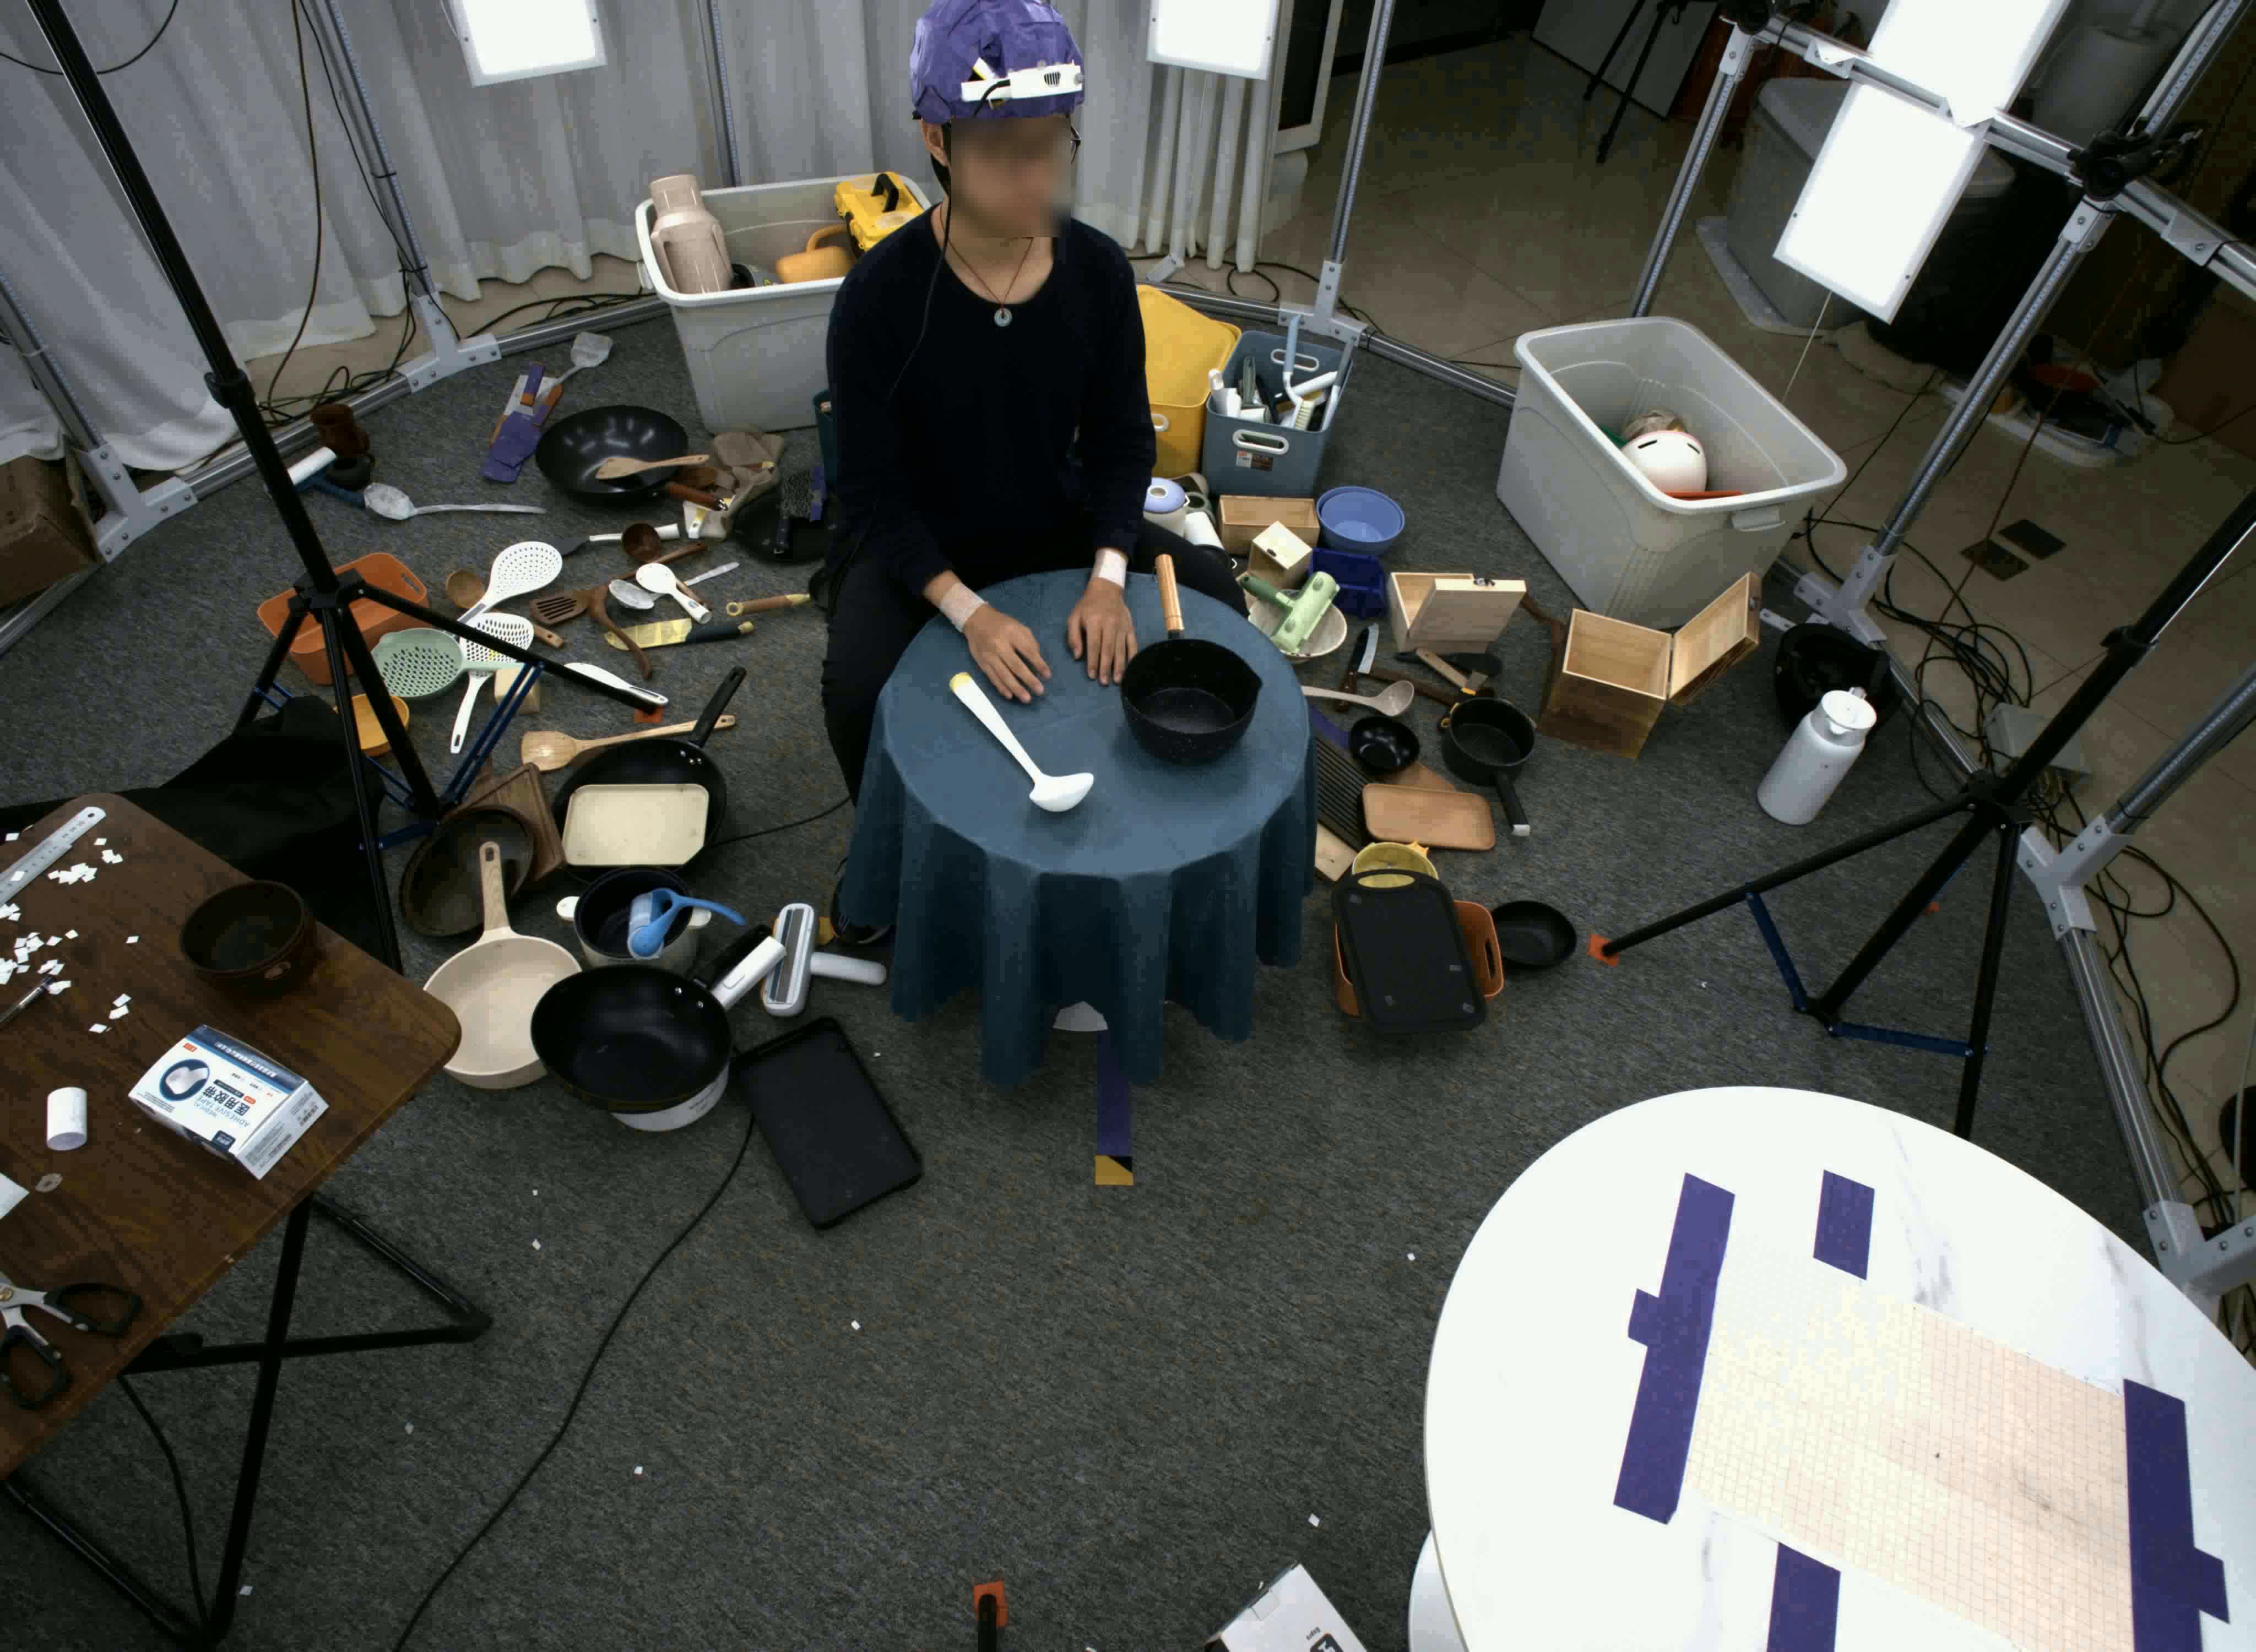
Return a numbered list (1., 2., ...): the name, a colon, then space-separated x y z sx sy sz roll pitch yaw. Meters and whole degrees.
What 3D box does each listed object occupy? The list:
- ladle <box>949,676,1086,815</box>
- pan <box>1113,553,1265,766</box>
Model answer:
1. ladle: -0.159 -0.116 1.718 0.090 0.068 0.299 -28 55 -18
2. pan: 0.070 -0.234 1.807 0.207 0.105 0.351 -5 51 -7
